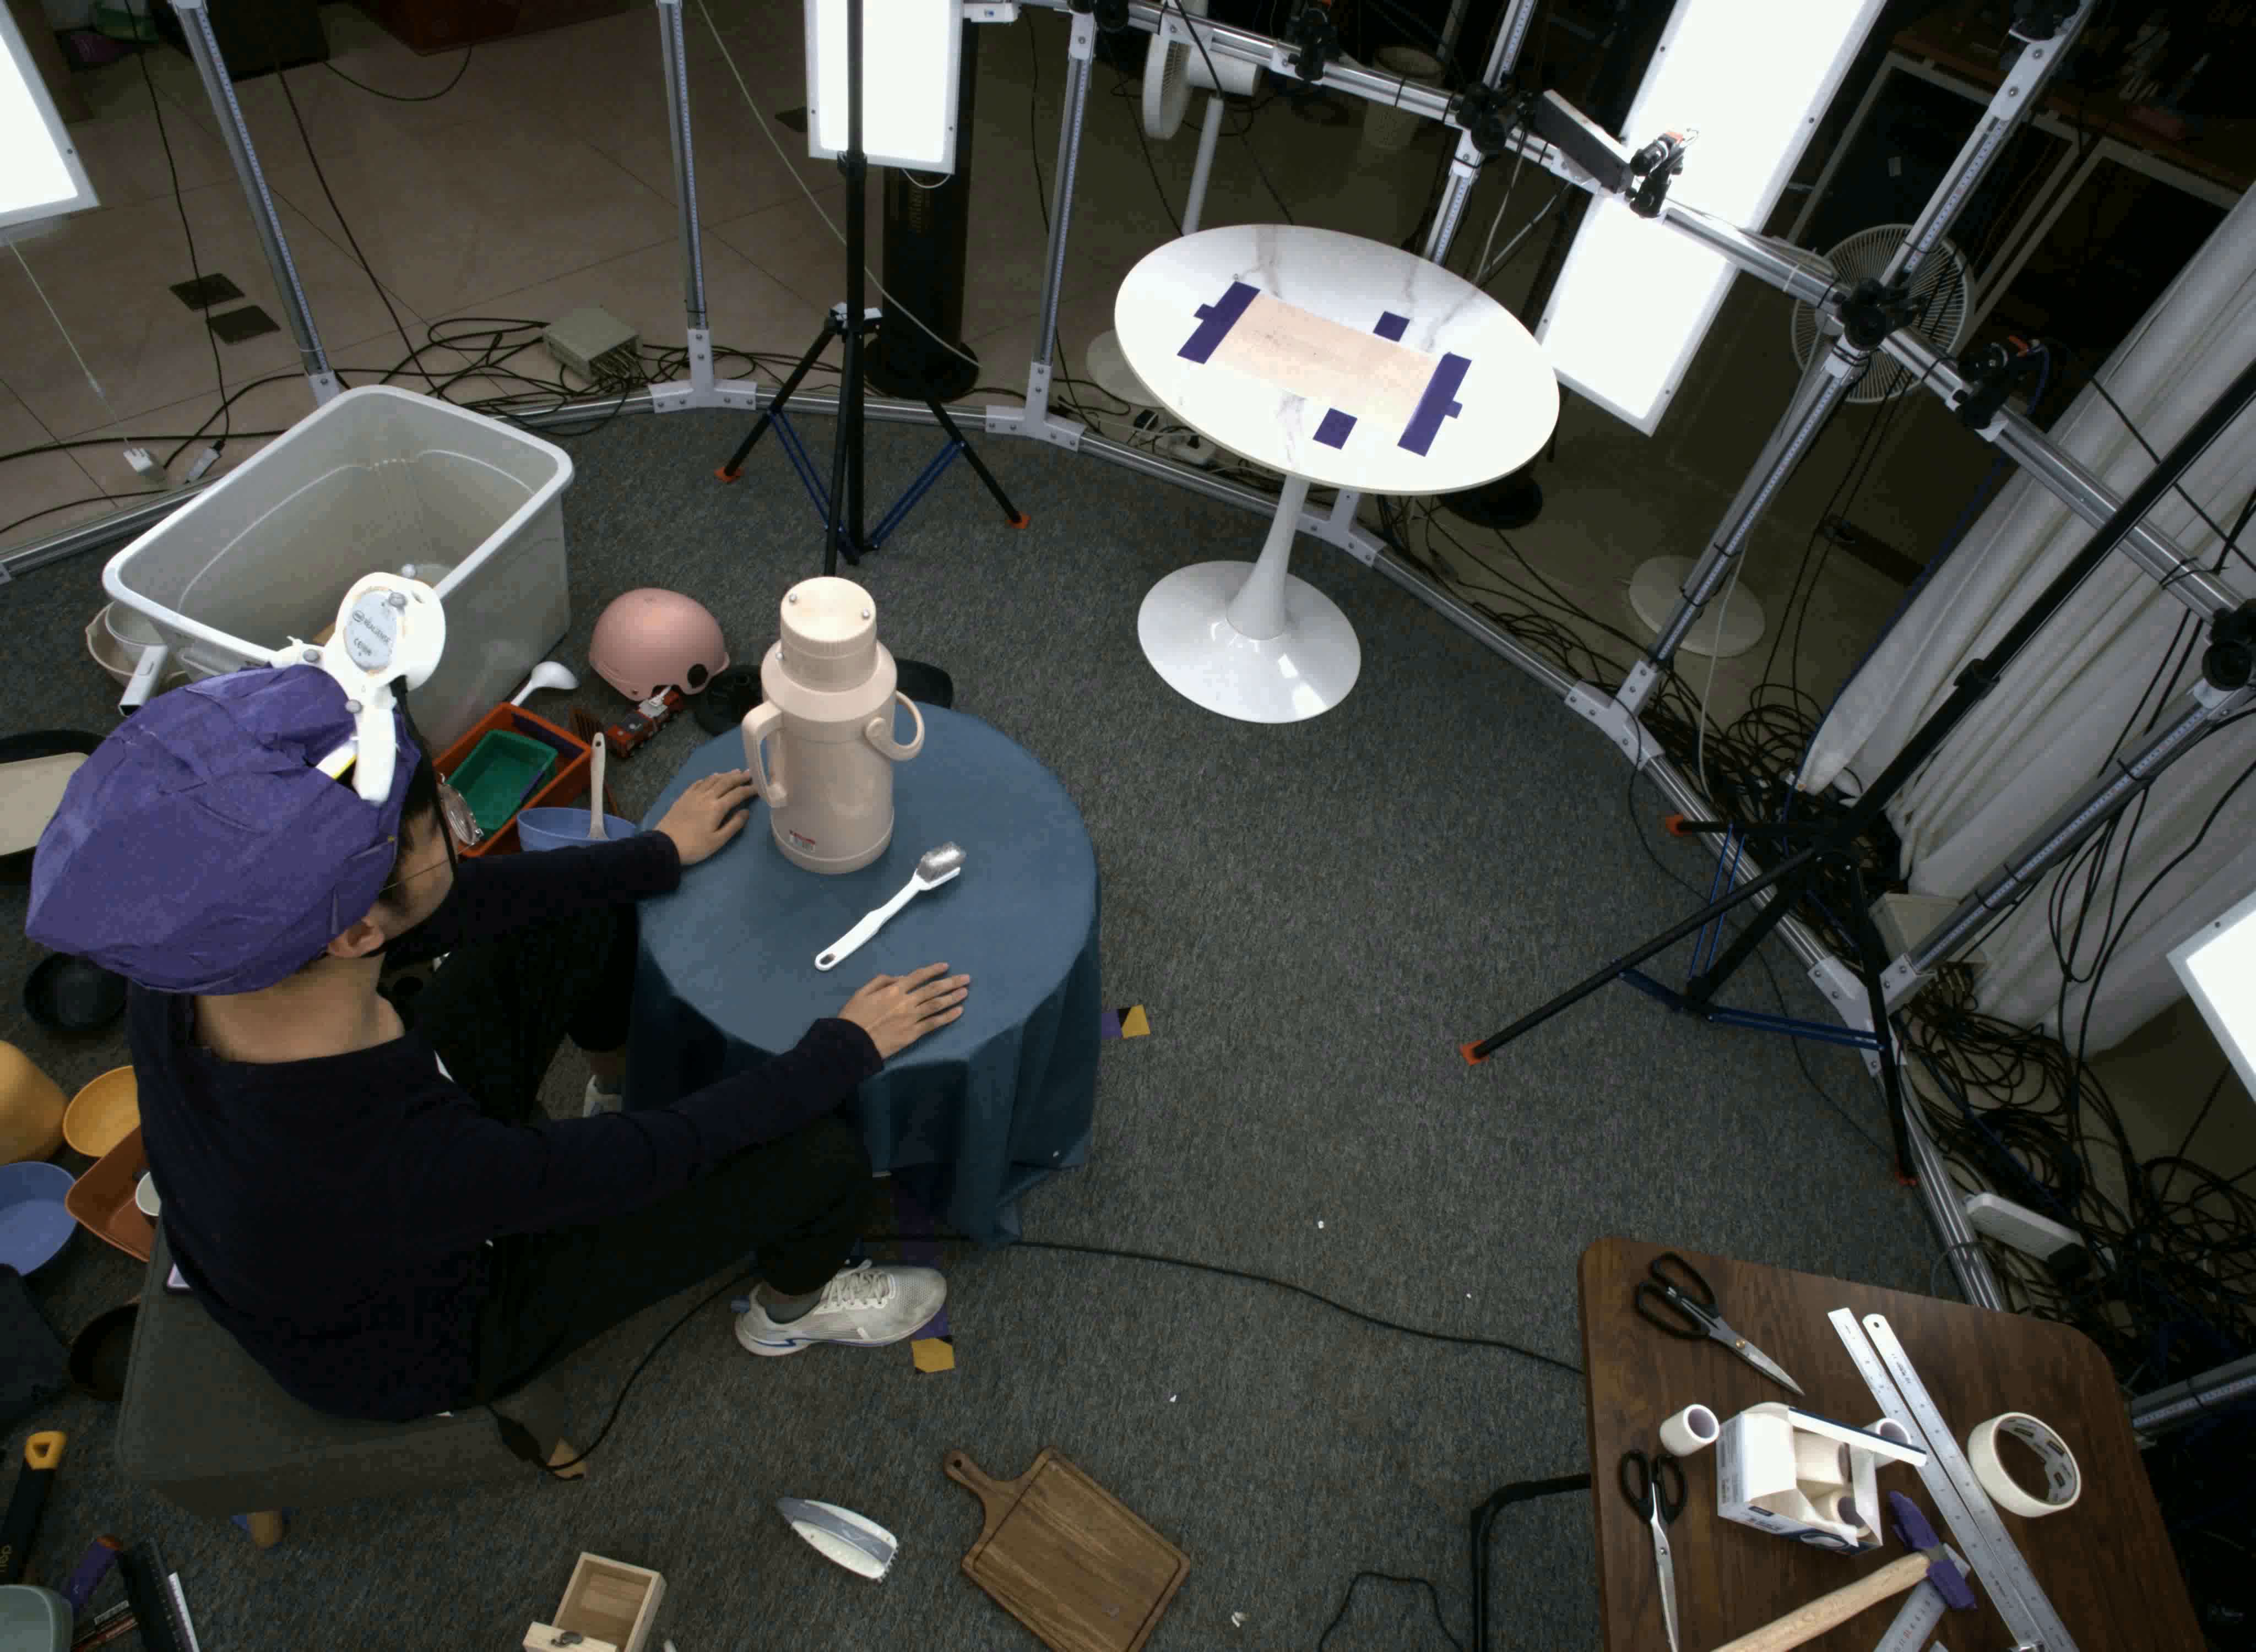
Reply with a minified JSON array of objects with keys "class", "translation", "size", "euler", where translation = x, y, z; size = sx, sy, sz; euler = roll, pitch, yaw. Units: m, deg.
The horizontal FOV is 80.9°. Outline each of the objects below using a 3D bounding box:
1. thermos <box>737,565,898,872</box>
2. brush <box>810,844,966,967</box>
[{"class":"thermos","translation":[-0.377,-0.119,1.570],"size":[0.171,0.414,0.207],"euler":[40,56,17]},{"class":"brush","translation":[-0.304,0.096,1.654],"size":[0.034,0.051,0.244],"euler":[44,56,15]}]
